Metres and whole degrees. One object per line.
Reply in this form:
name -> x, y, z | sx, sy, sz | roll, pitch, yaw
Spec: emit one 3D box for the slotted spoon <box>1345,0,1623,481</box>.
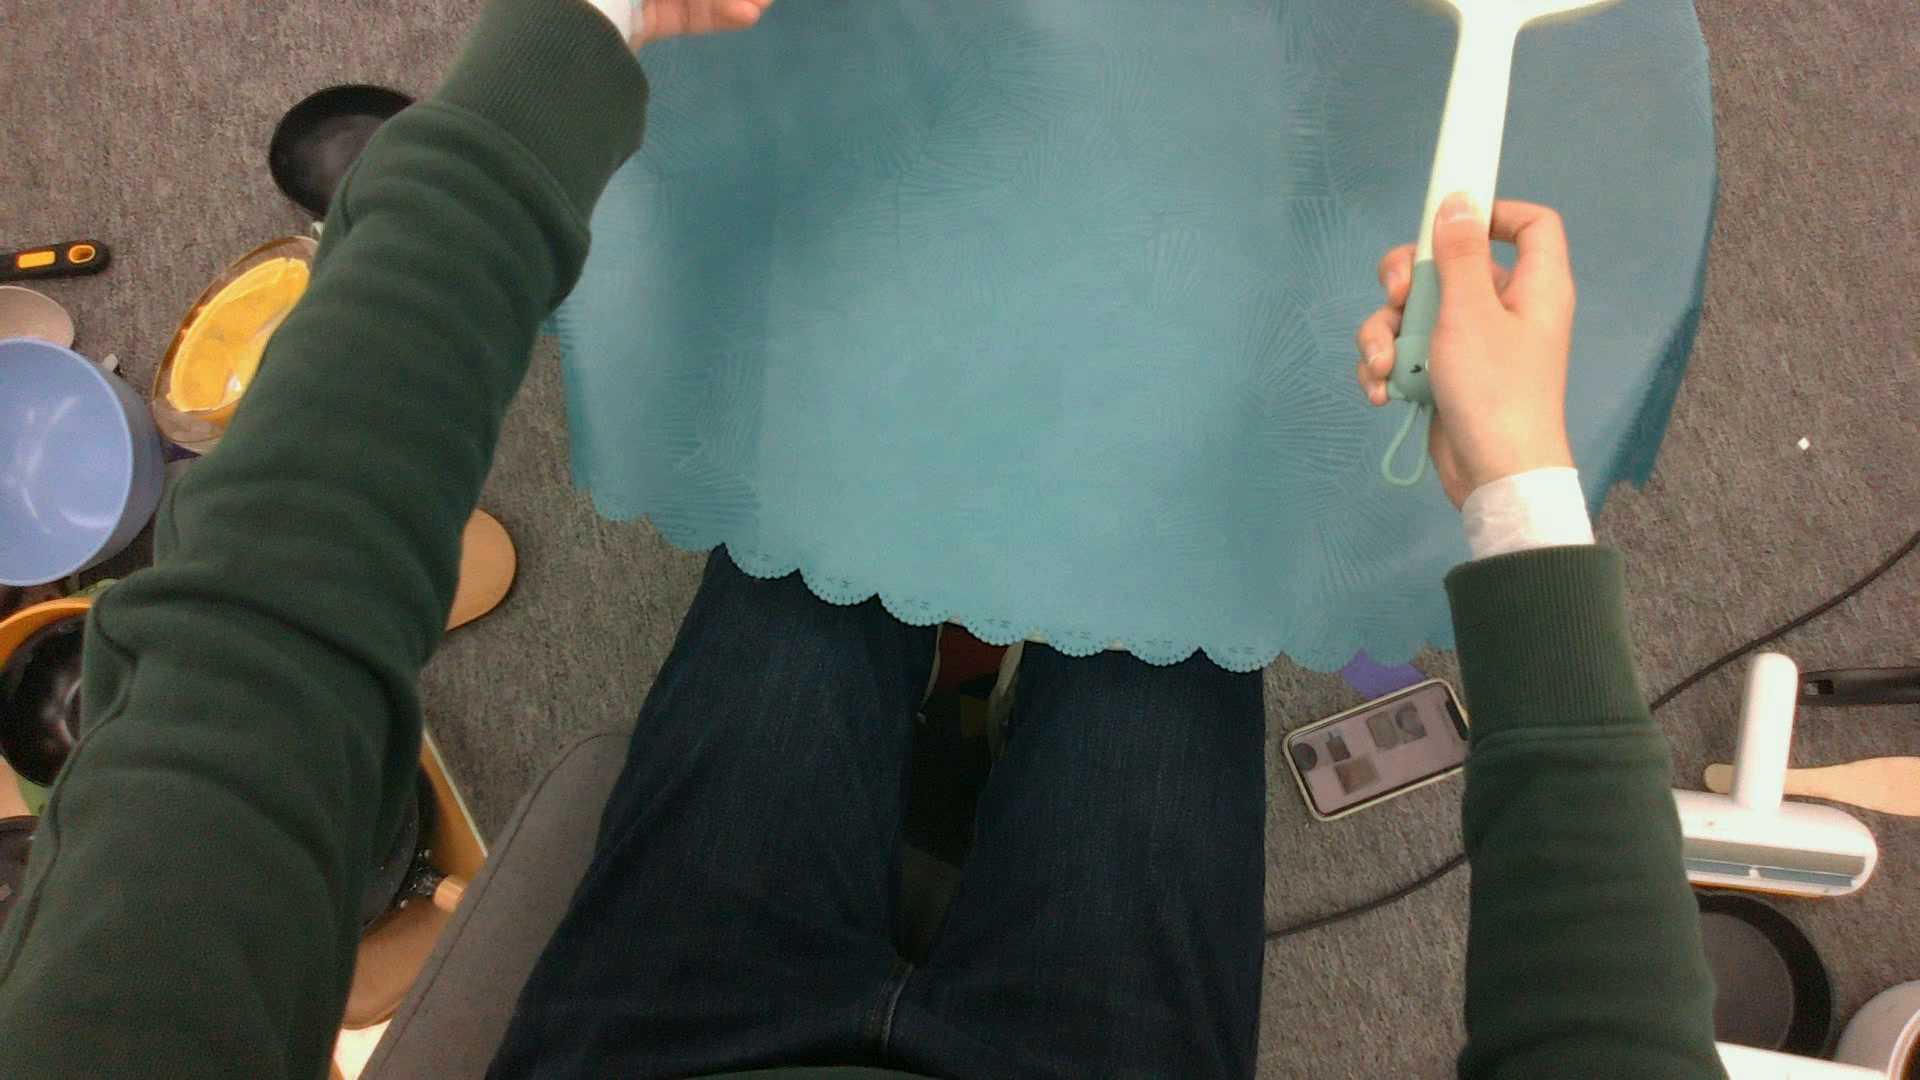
slotted spoon -> 0.207, -0.198, 0.581 | 0.169, 0.075, 0.360 | 12, 67, 6
